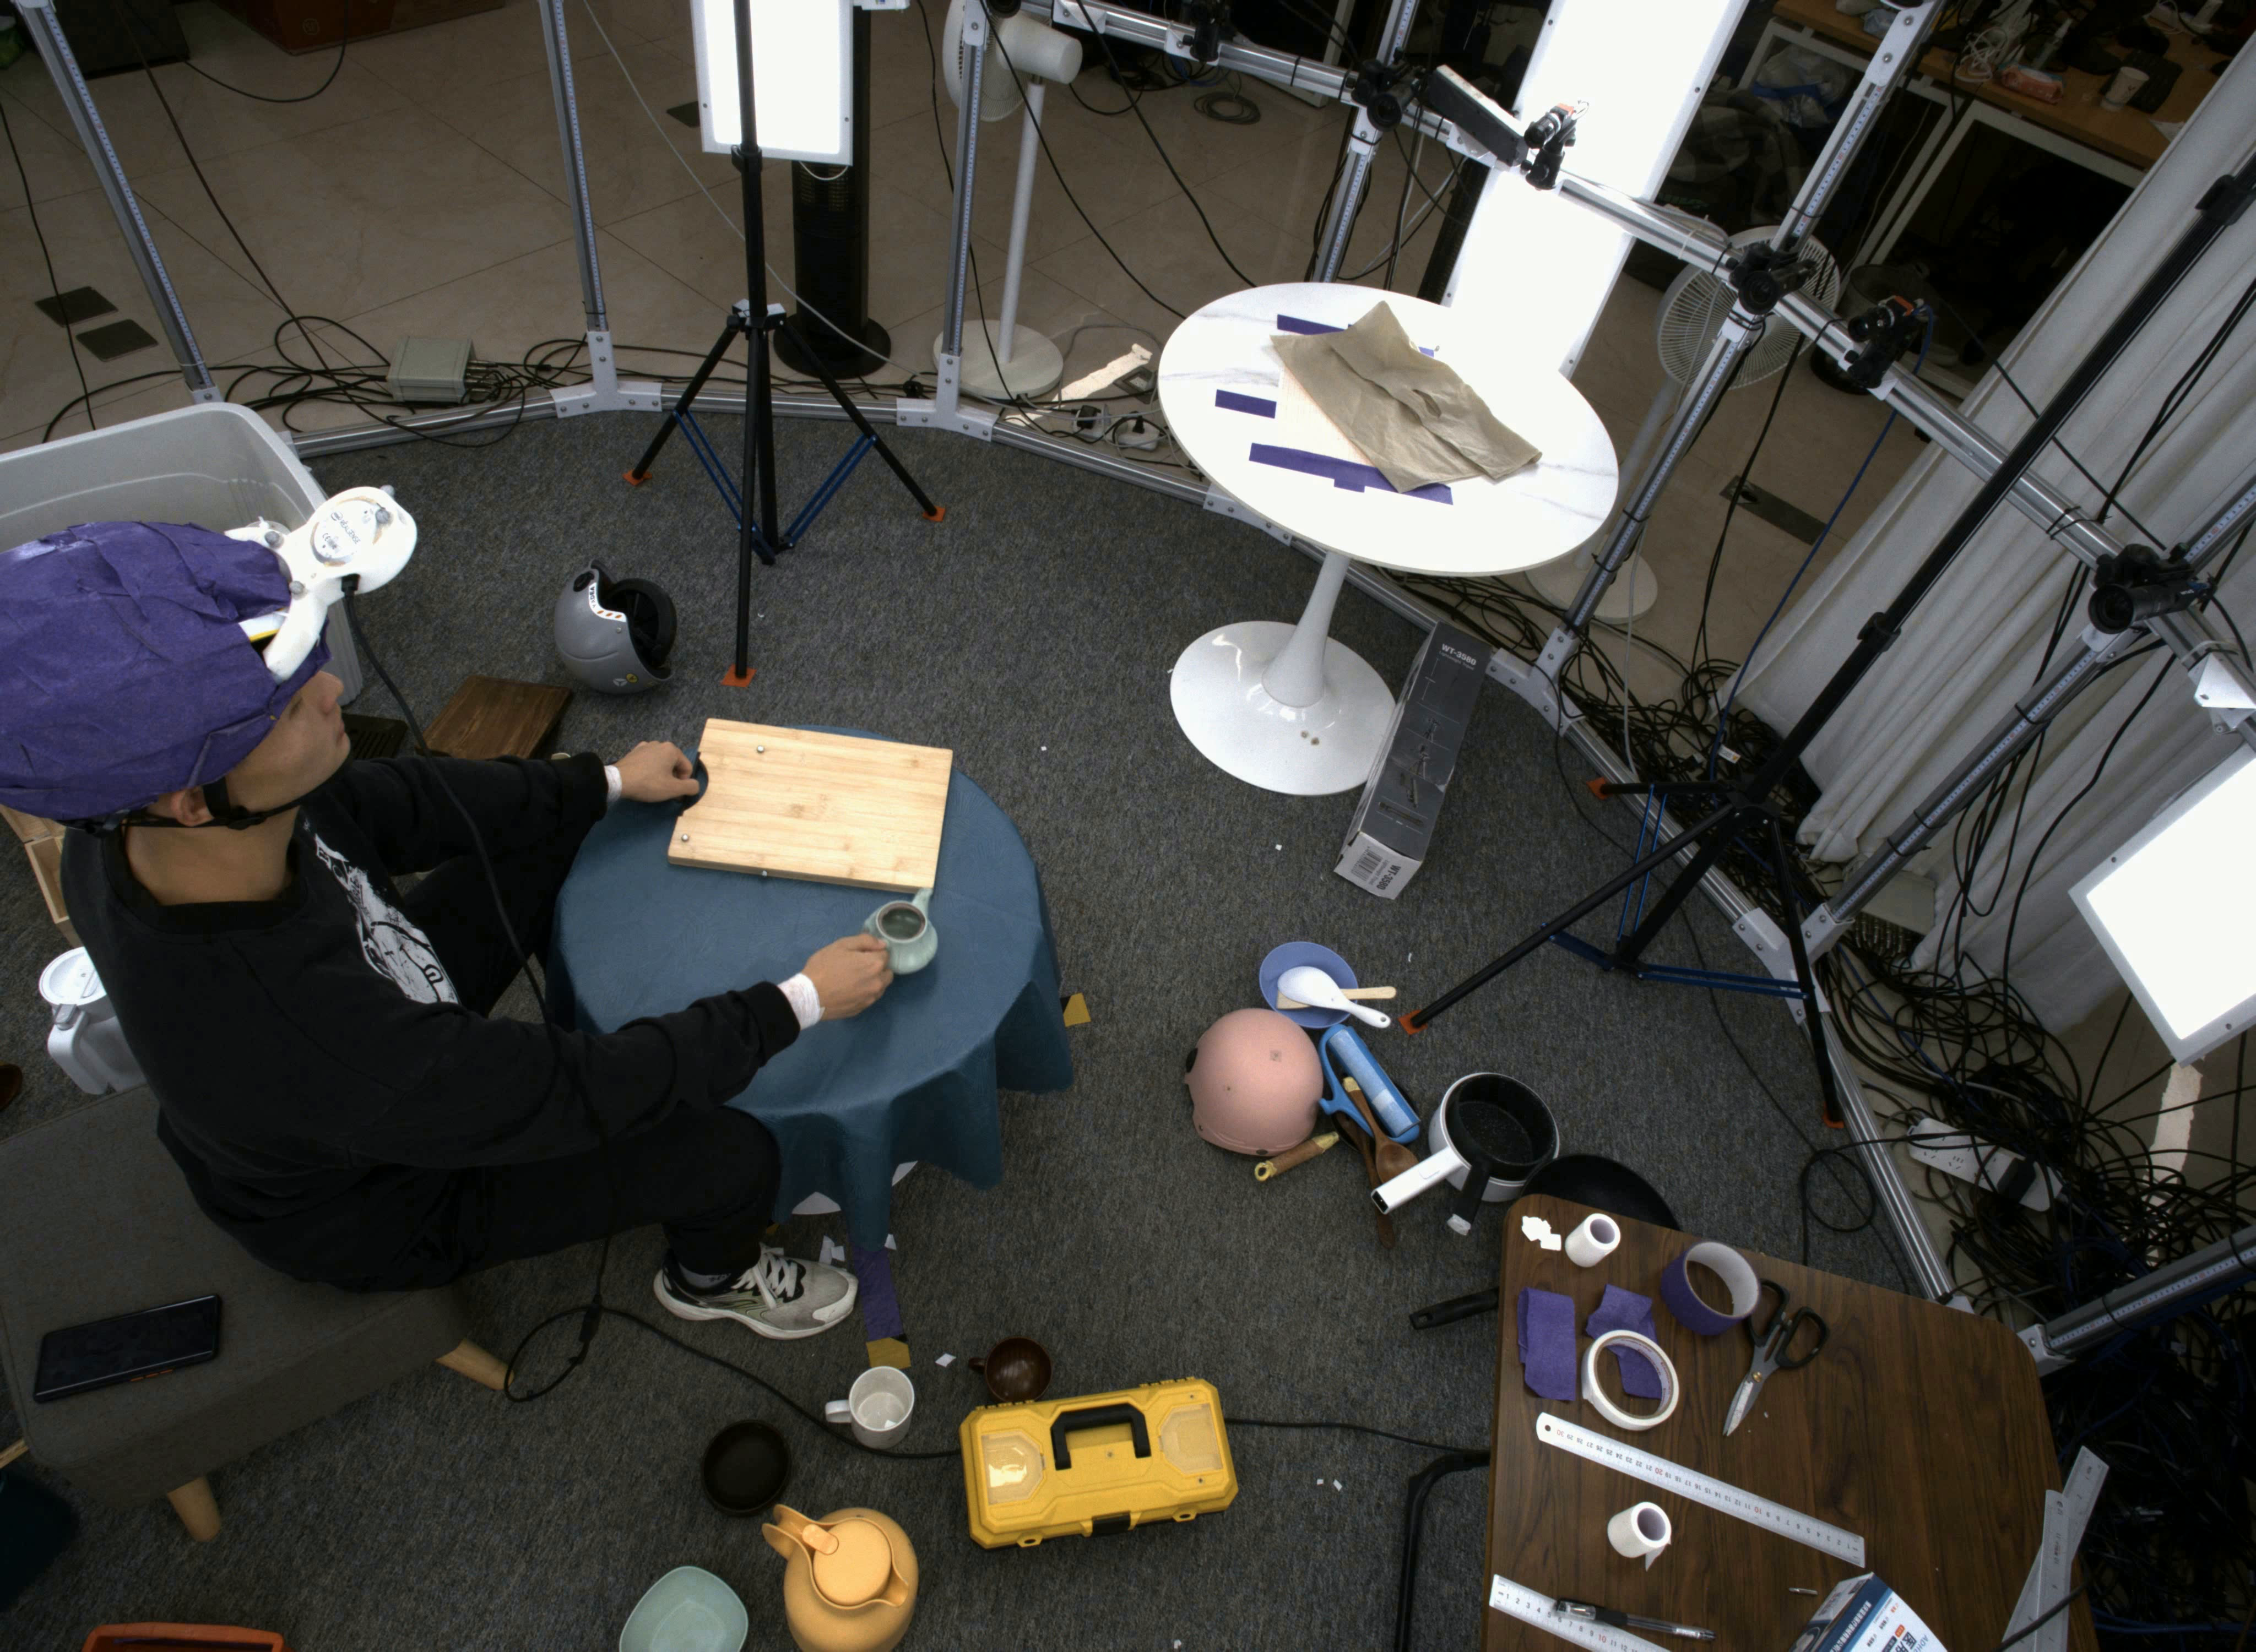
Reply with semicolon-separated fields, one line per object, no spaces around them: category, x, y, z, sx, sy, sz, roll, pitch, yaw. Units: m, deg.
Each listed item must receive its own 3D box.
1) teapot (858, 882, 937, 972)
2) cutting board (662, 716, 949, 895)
teapot;-0.282;0.129;1.587;0.095;0.062;0.136;28;46;4
cutting board;-0.422;-0.031;1.734;0.348;0.024;0.246;7;52;-10
